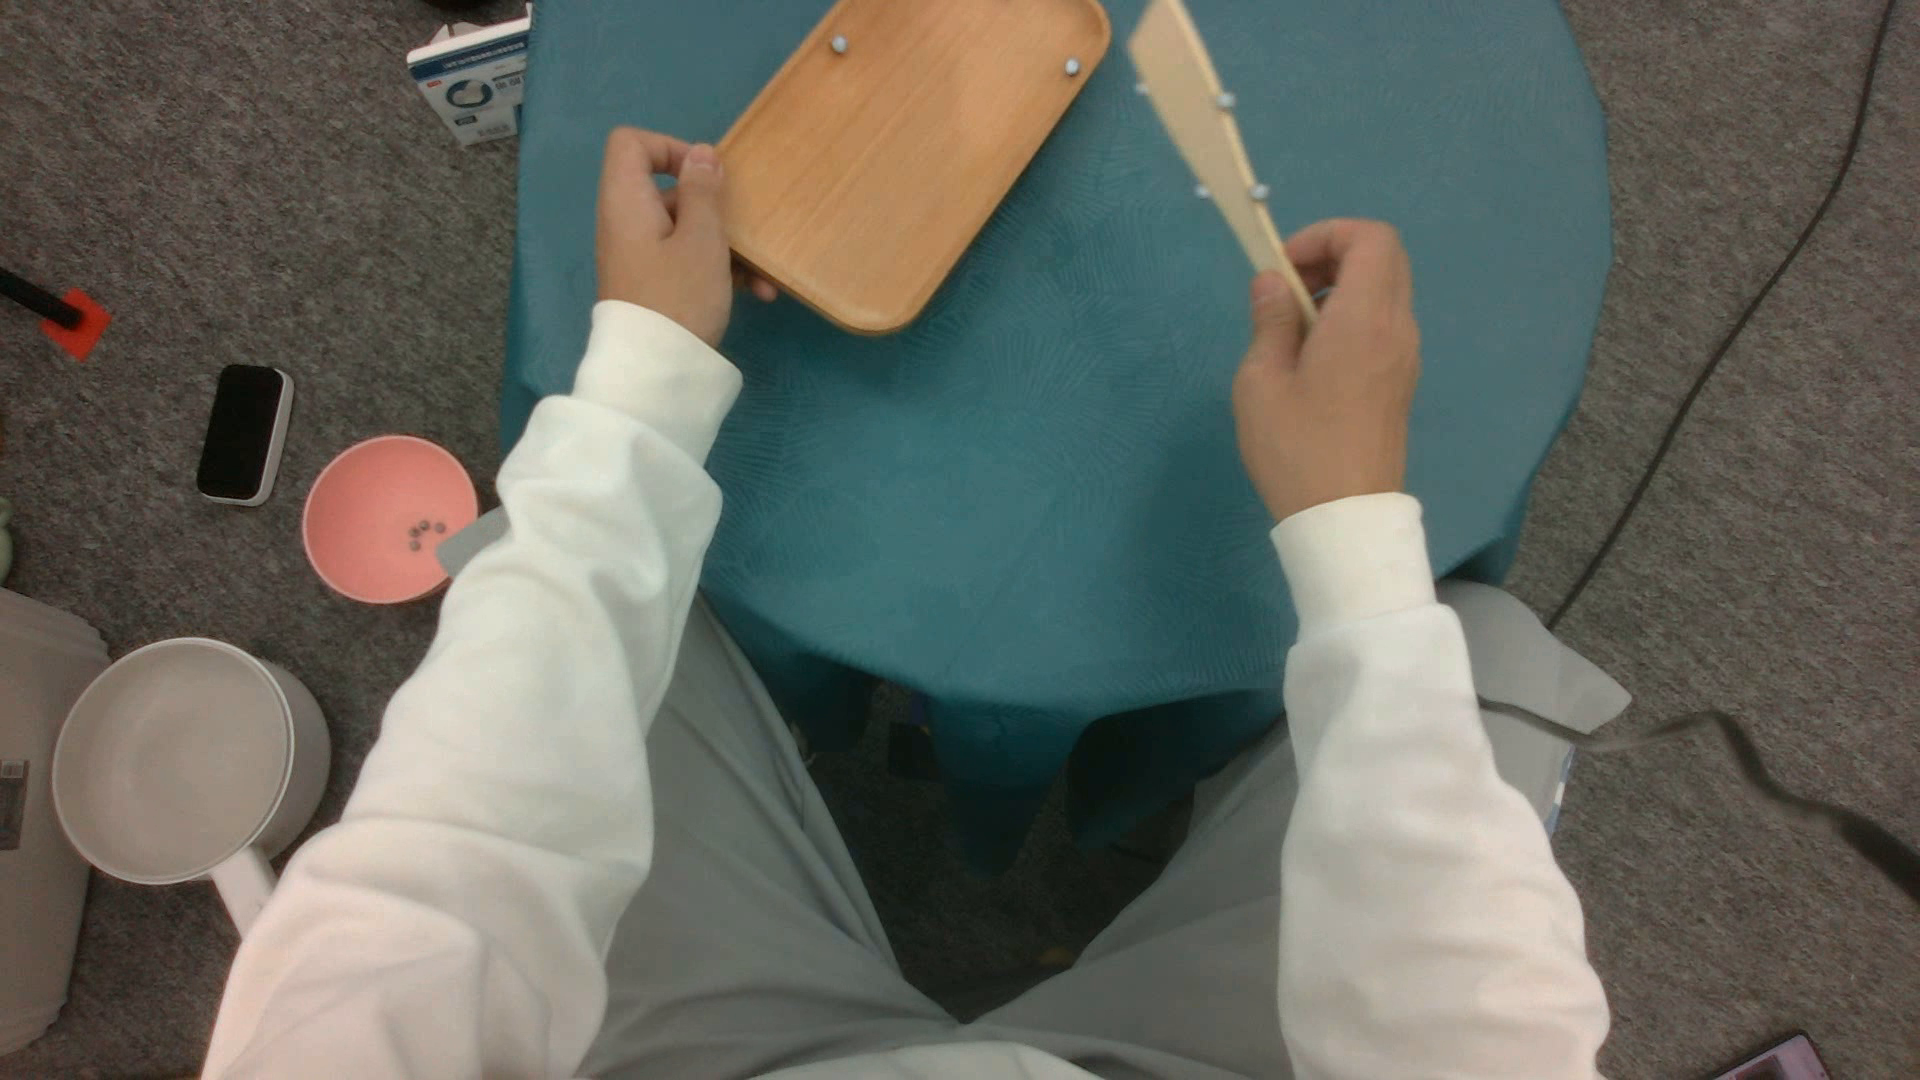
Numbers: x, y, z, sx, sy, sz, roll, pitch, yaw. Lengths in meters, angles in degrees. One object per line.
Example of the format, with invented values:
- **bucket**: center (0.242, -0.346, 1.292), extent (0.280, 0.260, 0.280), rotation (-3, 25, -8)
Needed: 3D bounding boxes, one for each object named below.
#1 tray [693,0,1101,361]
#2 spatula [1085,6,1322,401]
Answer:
- **tray**: center (-0.027, -0.209, 0.724), extent (0.130, 0.023, 0.251), rotation (30, 69, 5)
- **spatula**: center (0.115, -0.156, 0.650), extent (0.005, 0.050, 0.208), rotation (-26, 81, -16)
